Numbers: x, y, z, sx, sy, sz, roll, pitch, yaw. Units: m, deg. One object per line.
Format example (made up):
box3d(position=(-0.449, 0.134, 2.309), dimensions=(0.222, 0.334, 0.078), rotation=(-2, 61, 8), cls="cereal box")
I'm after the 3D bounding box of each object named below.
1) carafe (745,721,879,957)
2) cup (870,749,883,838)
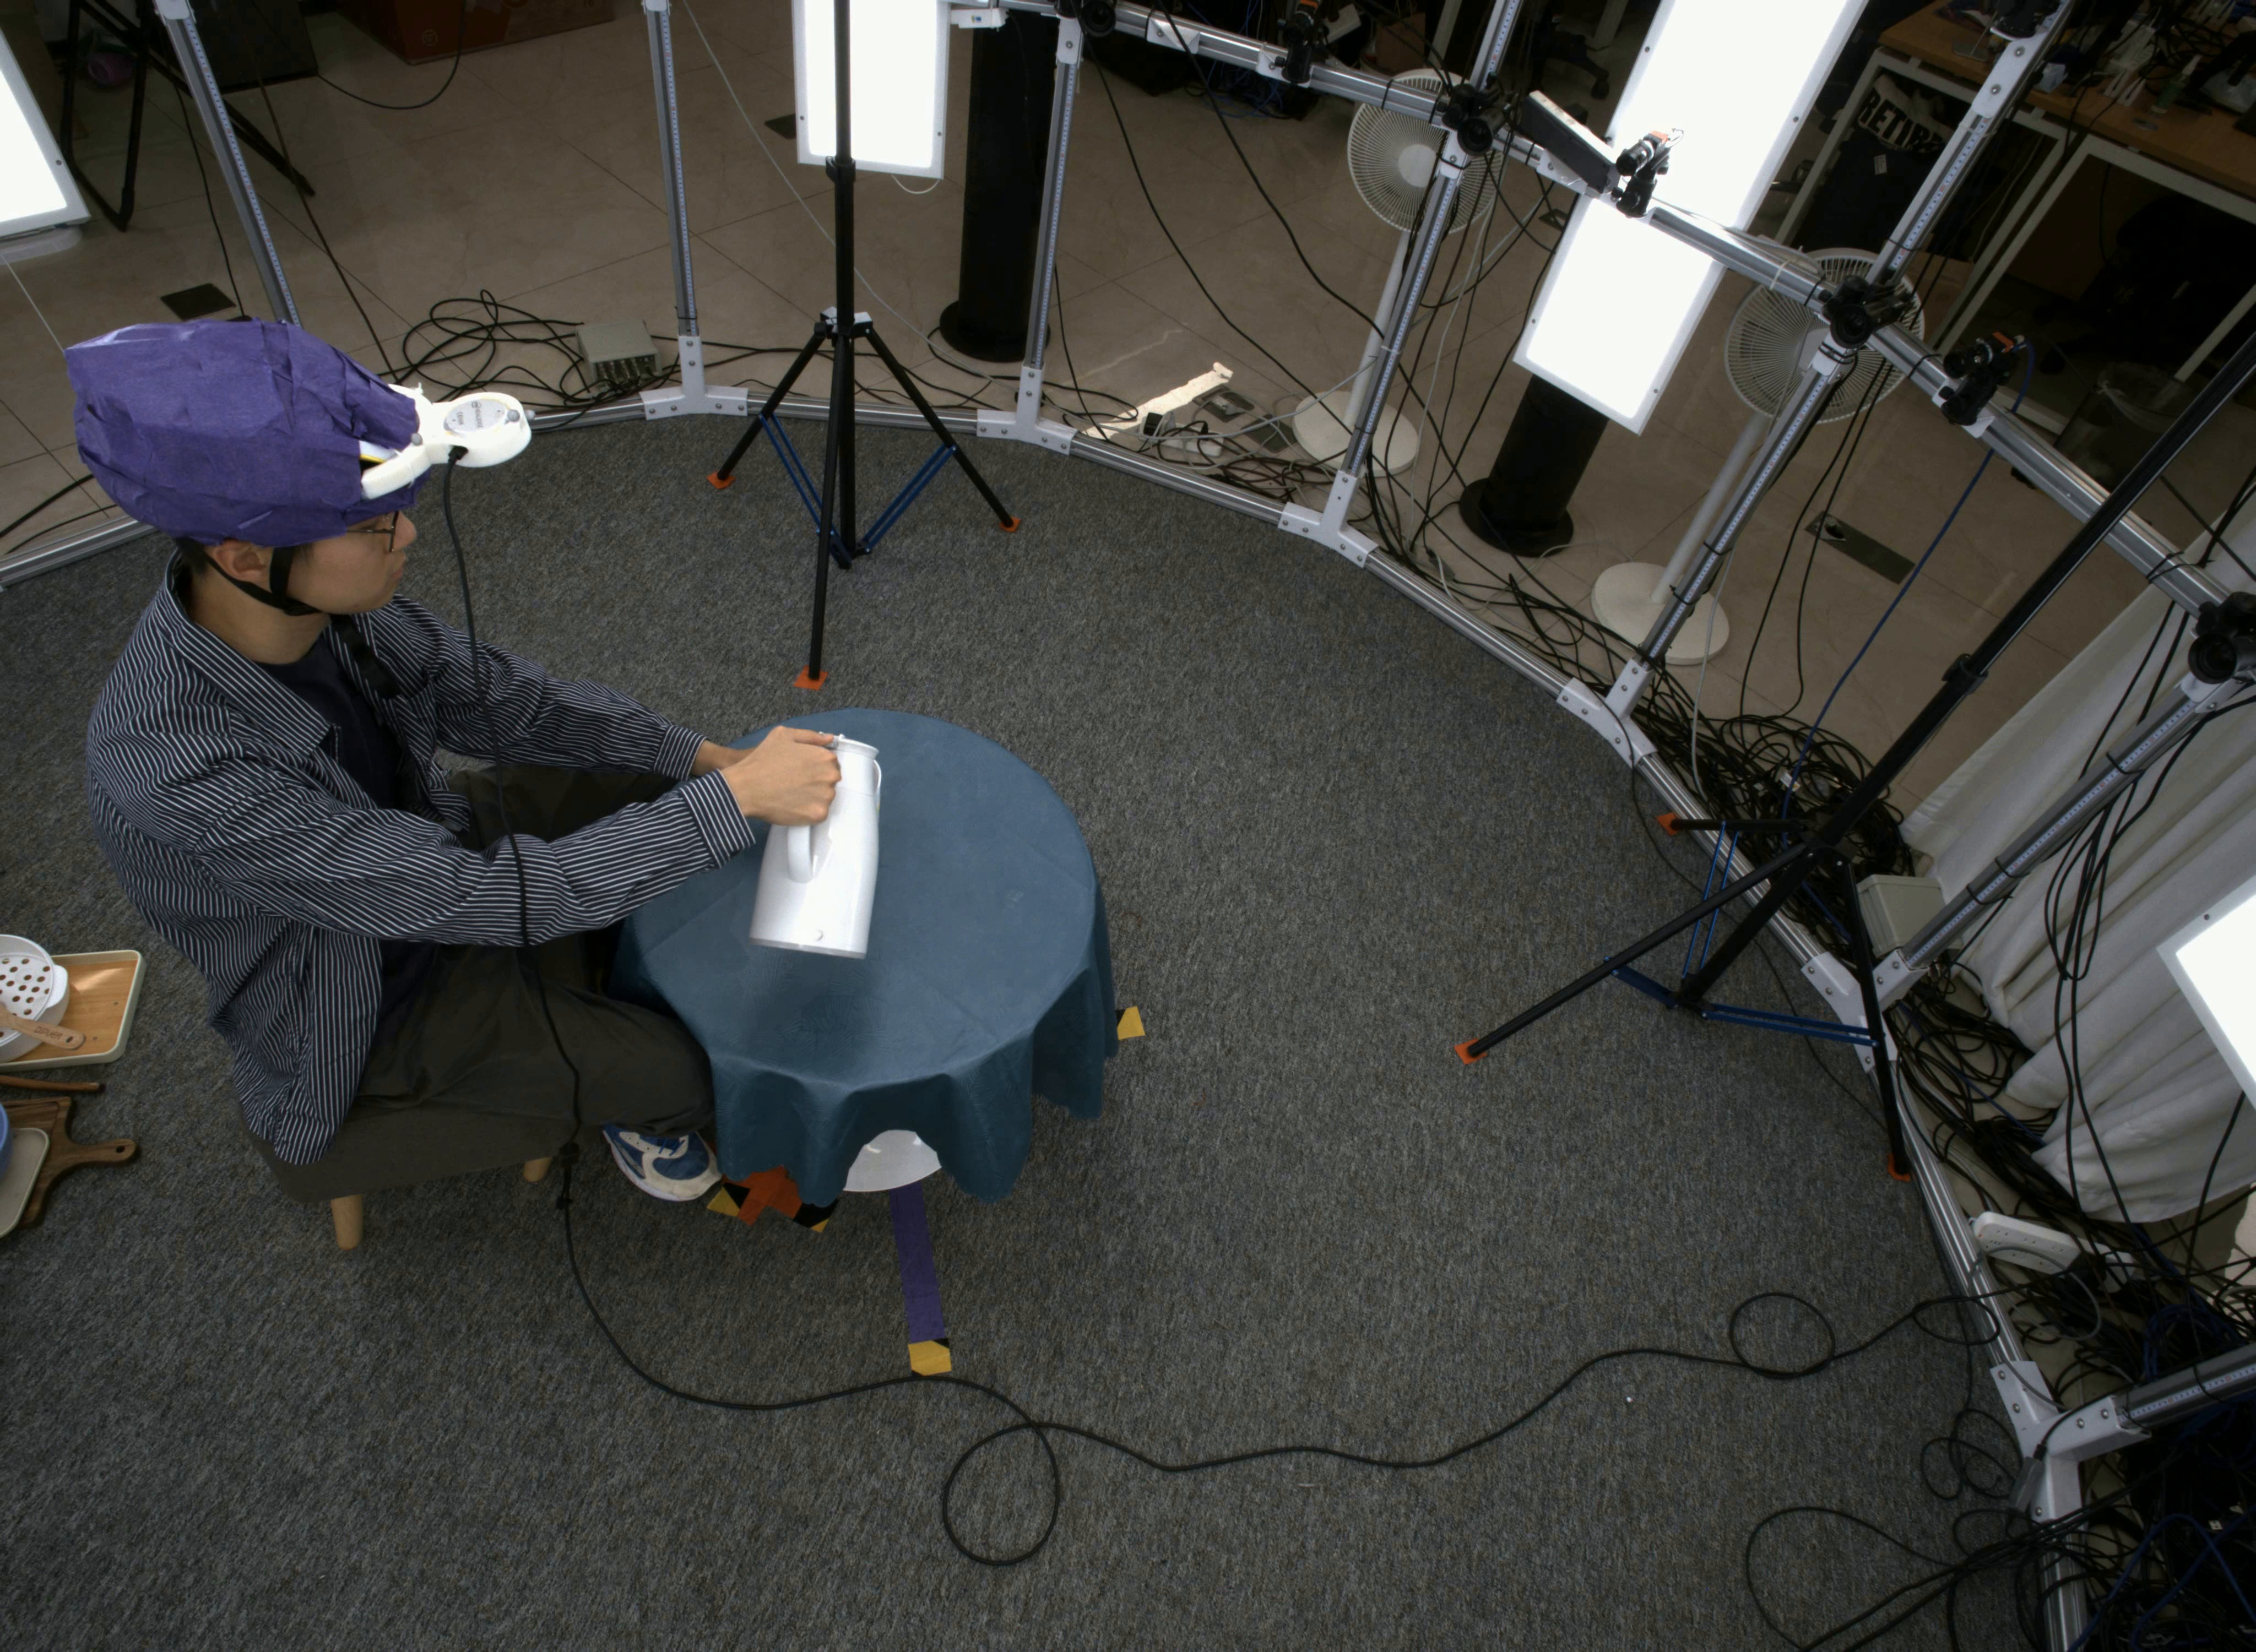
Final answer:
box3d(position=(-0.347, 0.011, 1.464), dimensions=(0.131, 0.168, 0.250), rotation=(9, 82, -2), cls="carafe")
box3d(position=(-0.352, -0.040, 1.658), dimensions=(0.081, 0.128, 0.080), rotation=(5, 55, -5), cls="cup")
